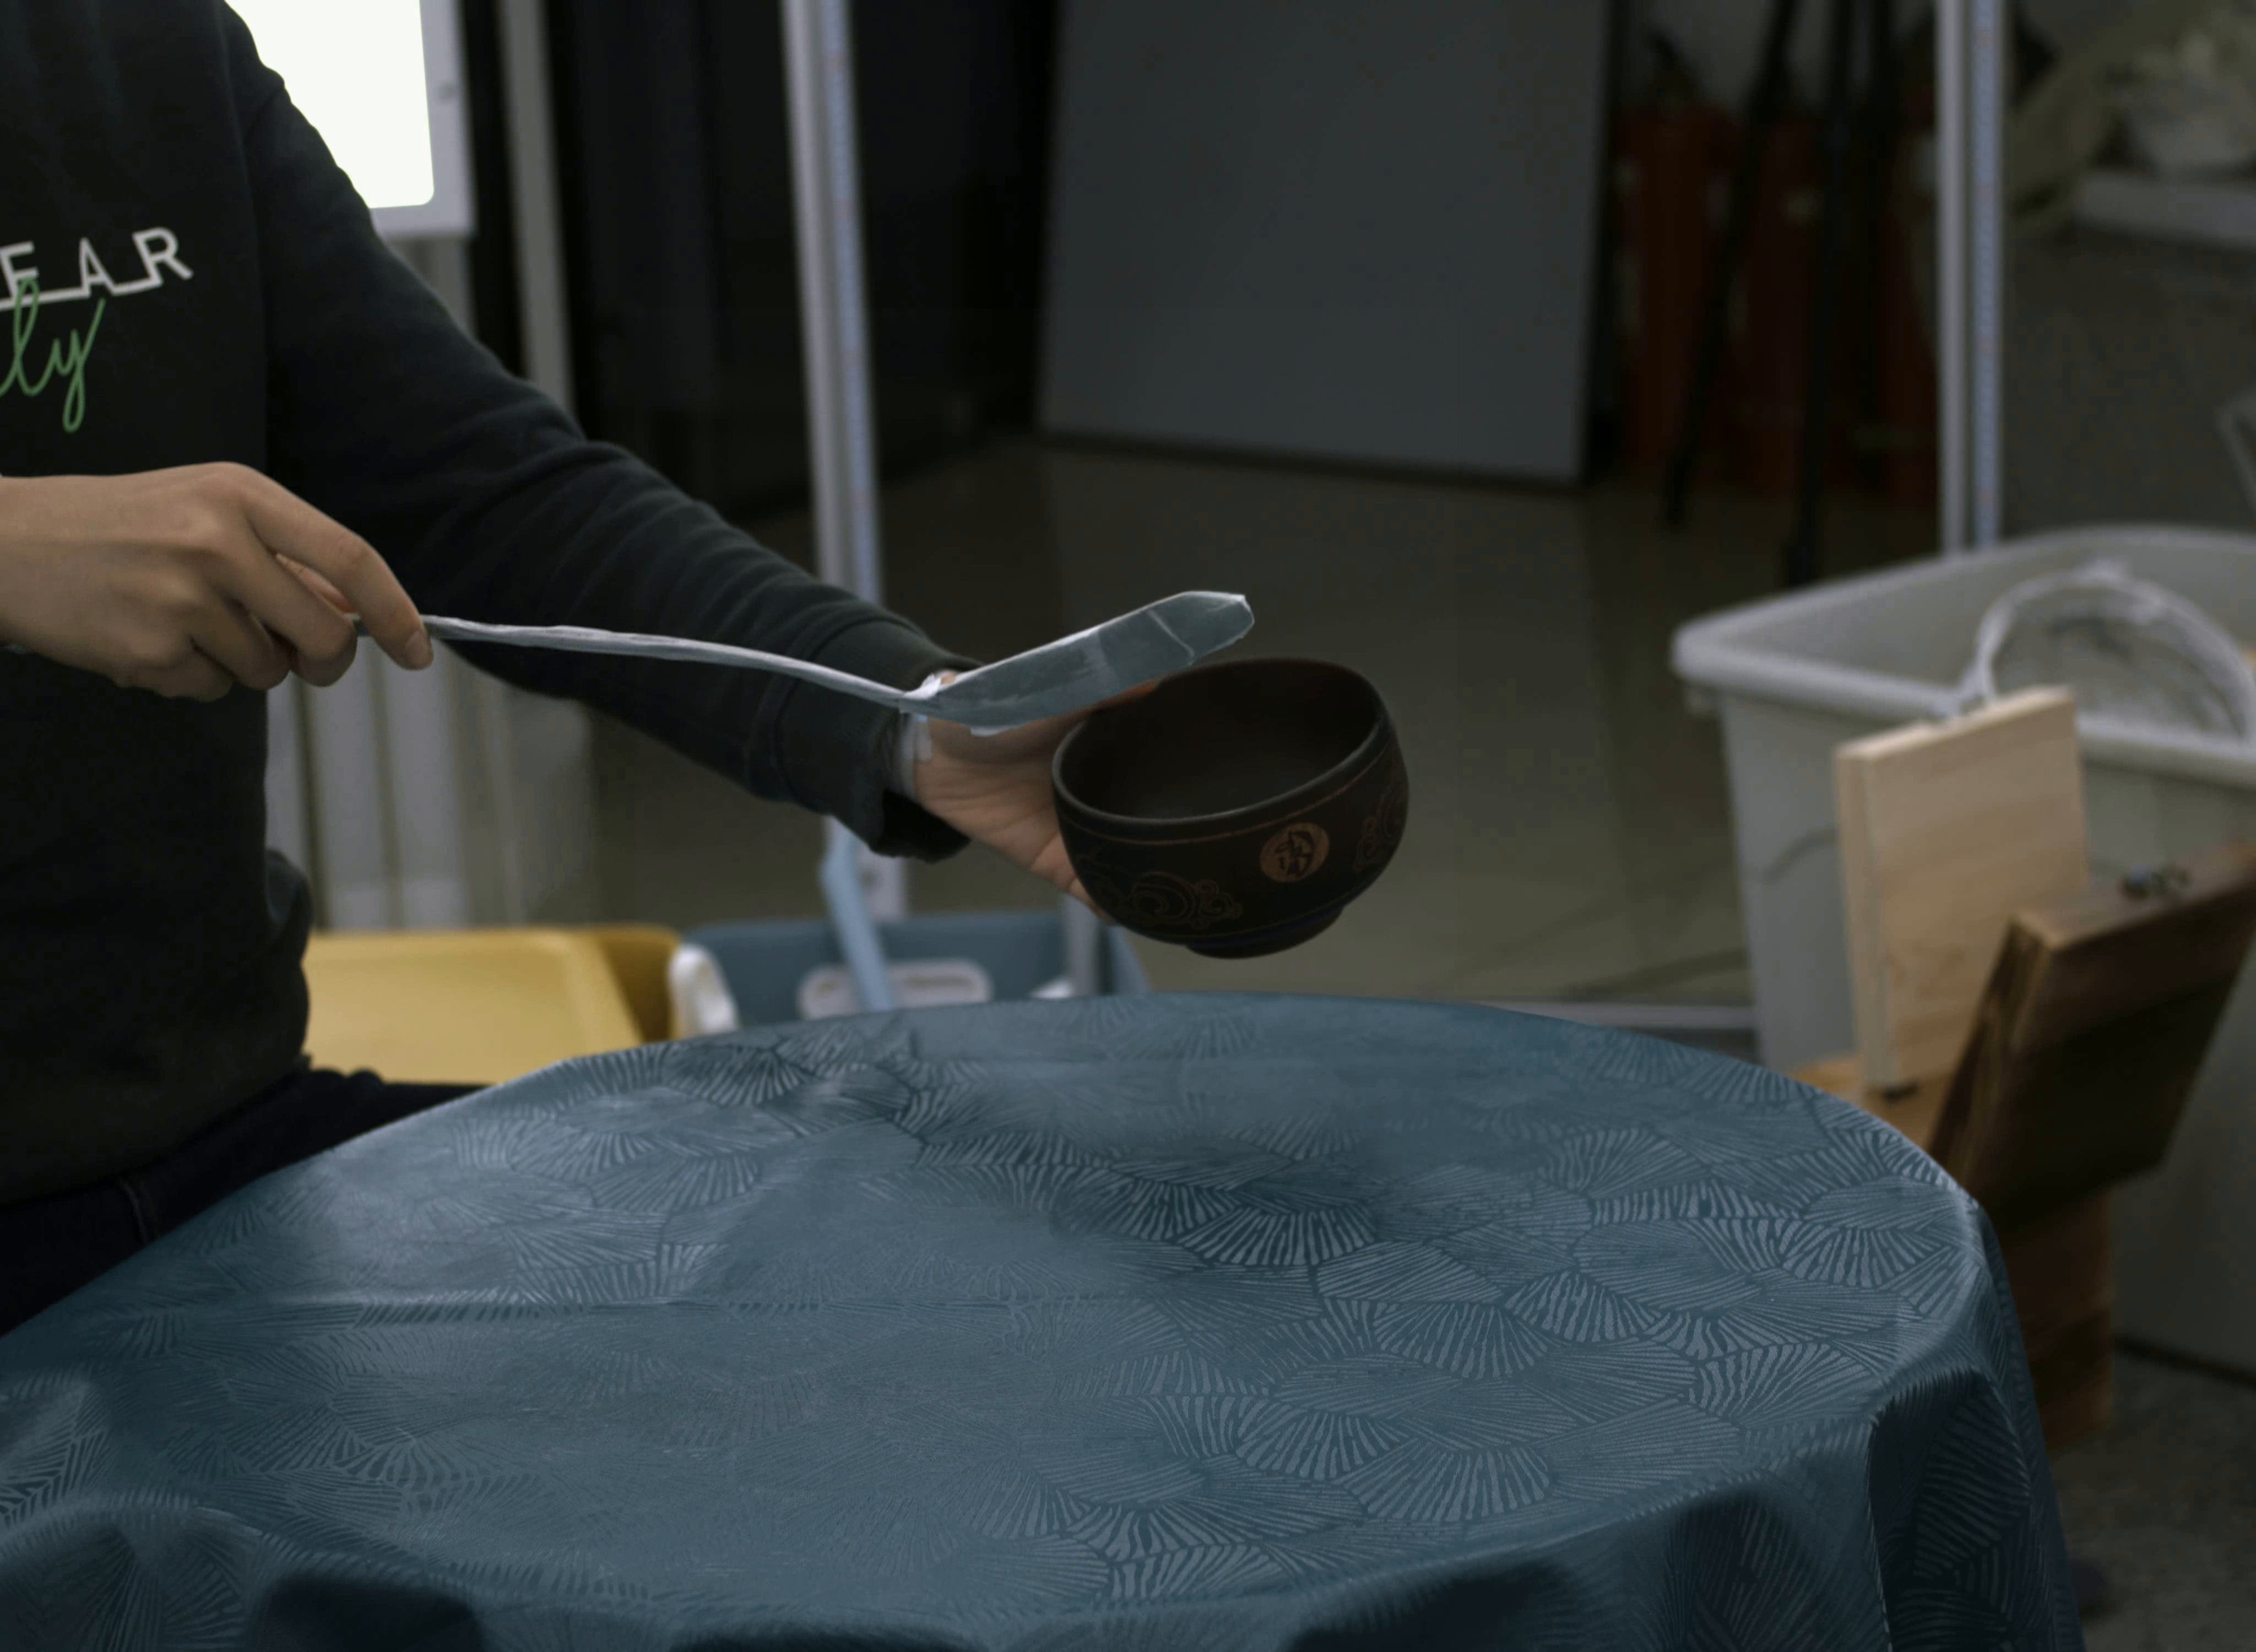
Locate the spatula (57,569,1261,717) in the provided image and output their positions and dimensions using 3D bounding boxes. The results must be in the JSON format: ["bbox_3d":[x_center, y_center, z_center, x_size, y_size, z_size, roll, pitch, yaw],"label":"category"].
[{"bbox_3d":[-0.142,-0.059,1.602,0.361,0.045,0.098,4,-6,7],"label":"spatula"}]

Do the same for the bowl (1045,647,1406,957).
[{"bbox_3d":[0.036,-0.001,1.760,0.117,0.070,0.118,-13,24,5],"label":"bowl"}]
